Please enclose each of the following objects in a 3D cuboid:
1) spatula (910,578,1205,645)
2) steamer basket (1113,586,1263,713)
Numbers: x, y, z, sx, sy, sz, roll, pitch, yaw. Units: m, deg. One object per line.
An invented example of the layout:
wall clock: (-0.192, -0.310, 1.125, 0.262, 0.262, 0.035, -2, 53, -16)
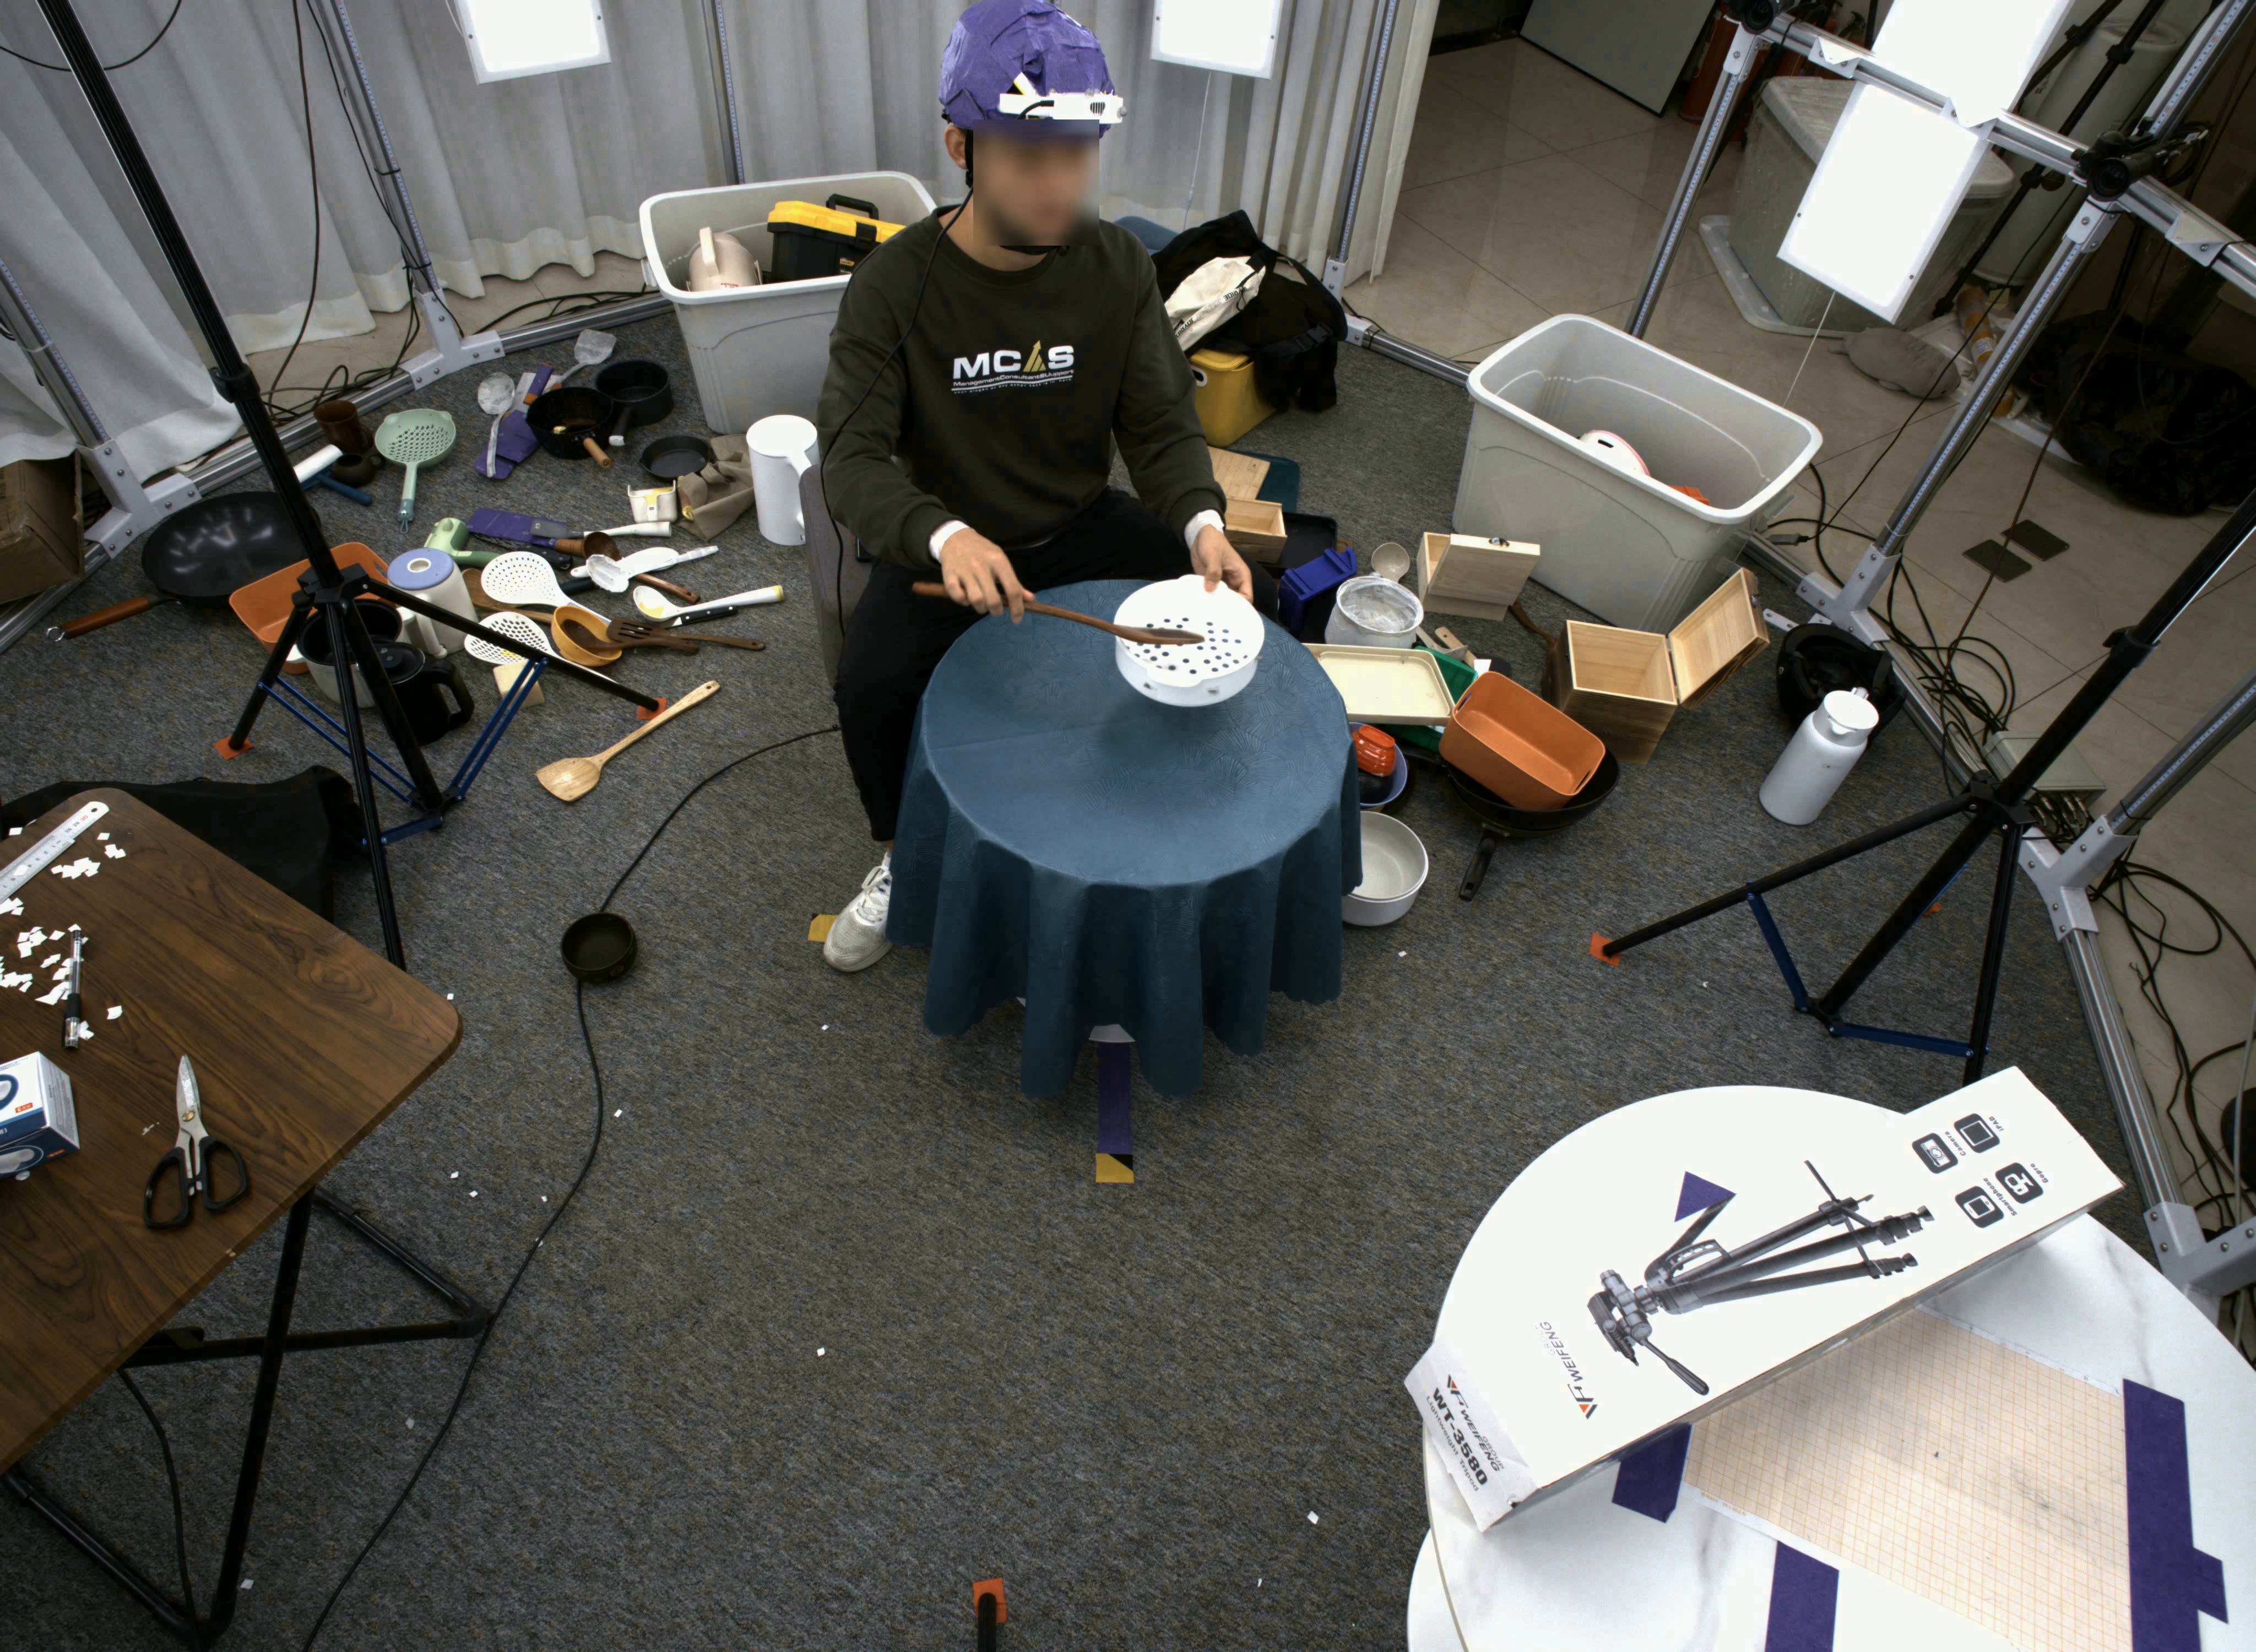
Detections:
spatula: (-0.085, -0.266, 1.630, 0.383, 0.023, 0.087, 10, 11, -20)
steamer basket: (0.079, -0.236, 1.735, 0.202, 0.067, 0.236, 11, 45, 8)
